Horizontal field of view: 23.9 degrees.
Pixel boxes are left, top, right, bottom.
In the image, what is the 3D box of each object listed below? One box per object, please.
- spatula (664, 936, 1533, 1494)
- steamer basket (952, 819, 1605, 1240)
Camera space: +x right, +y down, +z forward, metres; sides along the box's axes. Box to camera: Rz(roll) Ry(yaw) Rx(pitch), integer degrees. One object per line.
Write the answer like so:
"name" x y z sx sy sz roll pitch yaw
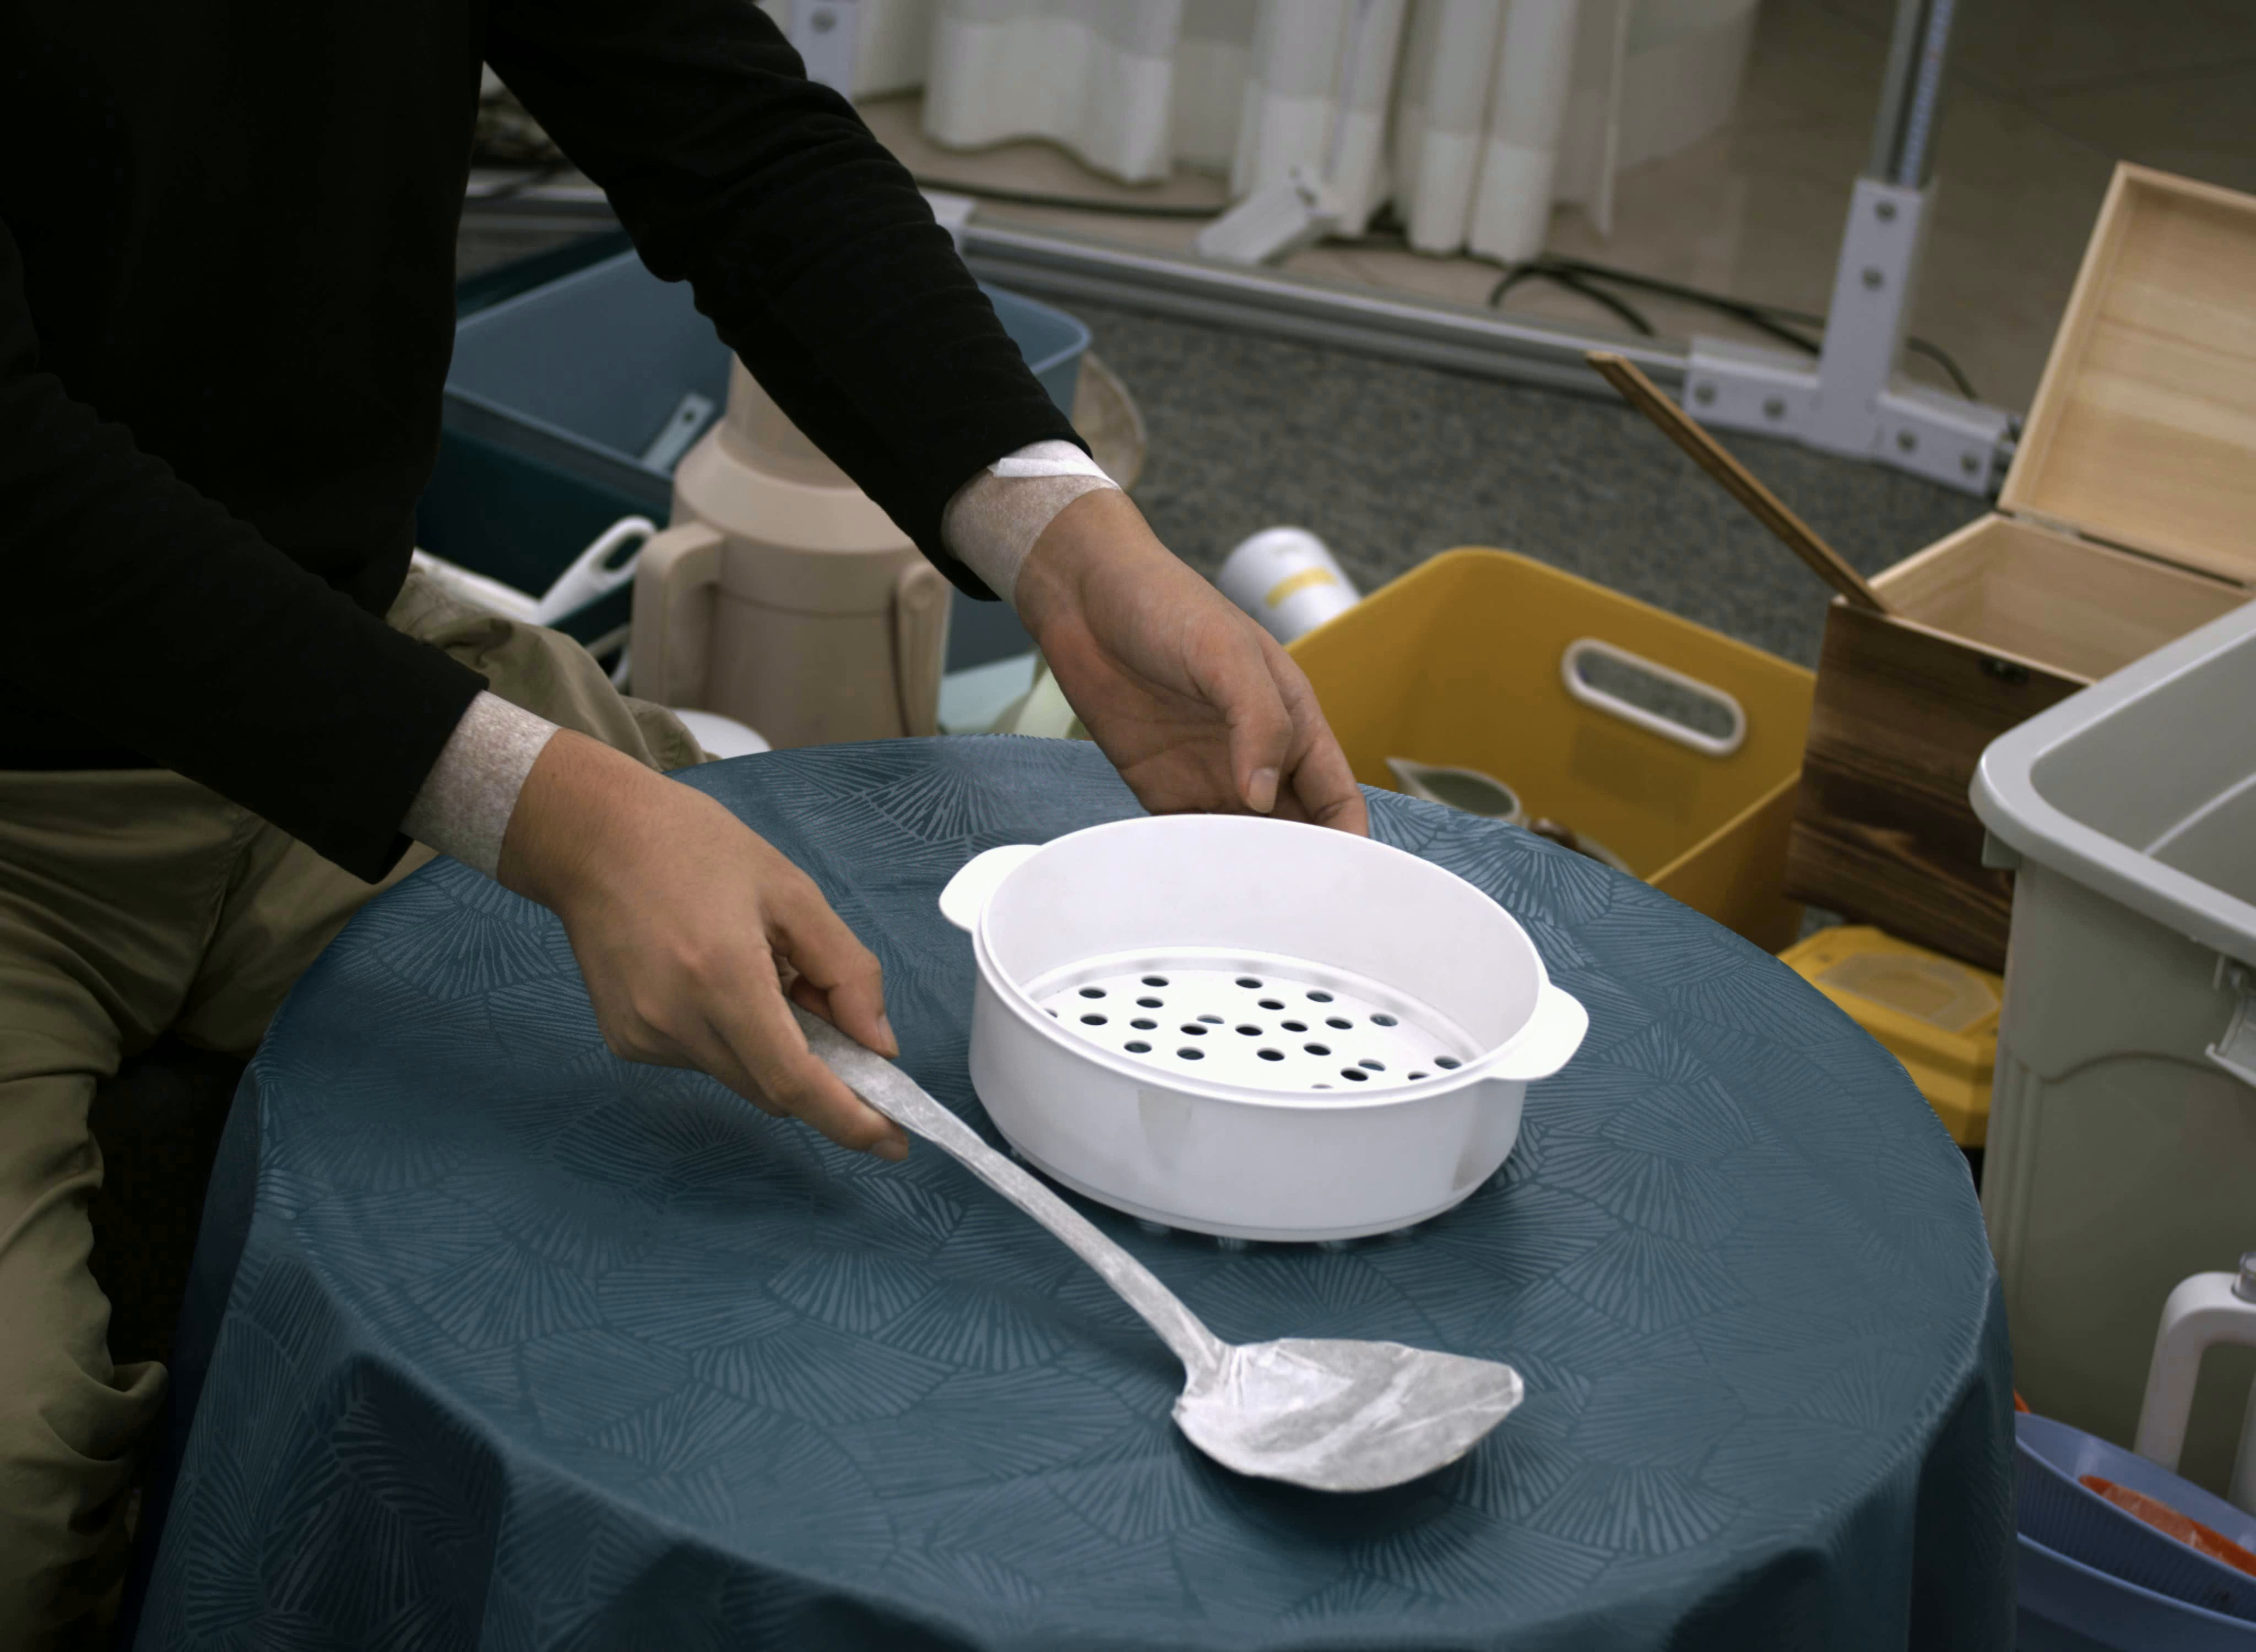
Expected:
"spatula" -0.030 0.116 1.733 0.367 0.044 0.098 35 41 29
"steamer basket" 0.048 0.070 1.840 0.231 0.069 0.202 15 27 17
